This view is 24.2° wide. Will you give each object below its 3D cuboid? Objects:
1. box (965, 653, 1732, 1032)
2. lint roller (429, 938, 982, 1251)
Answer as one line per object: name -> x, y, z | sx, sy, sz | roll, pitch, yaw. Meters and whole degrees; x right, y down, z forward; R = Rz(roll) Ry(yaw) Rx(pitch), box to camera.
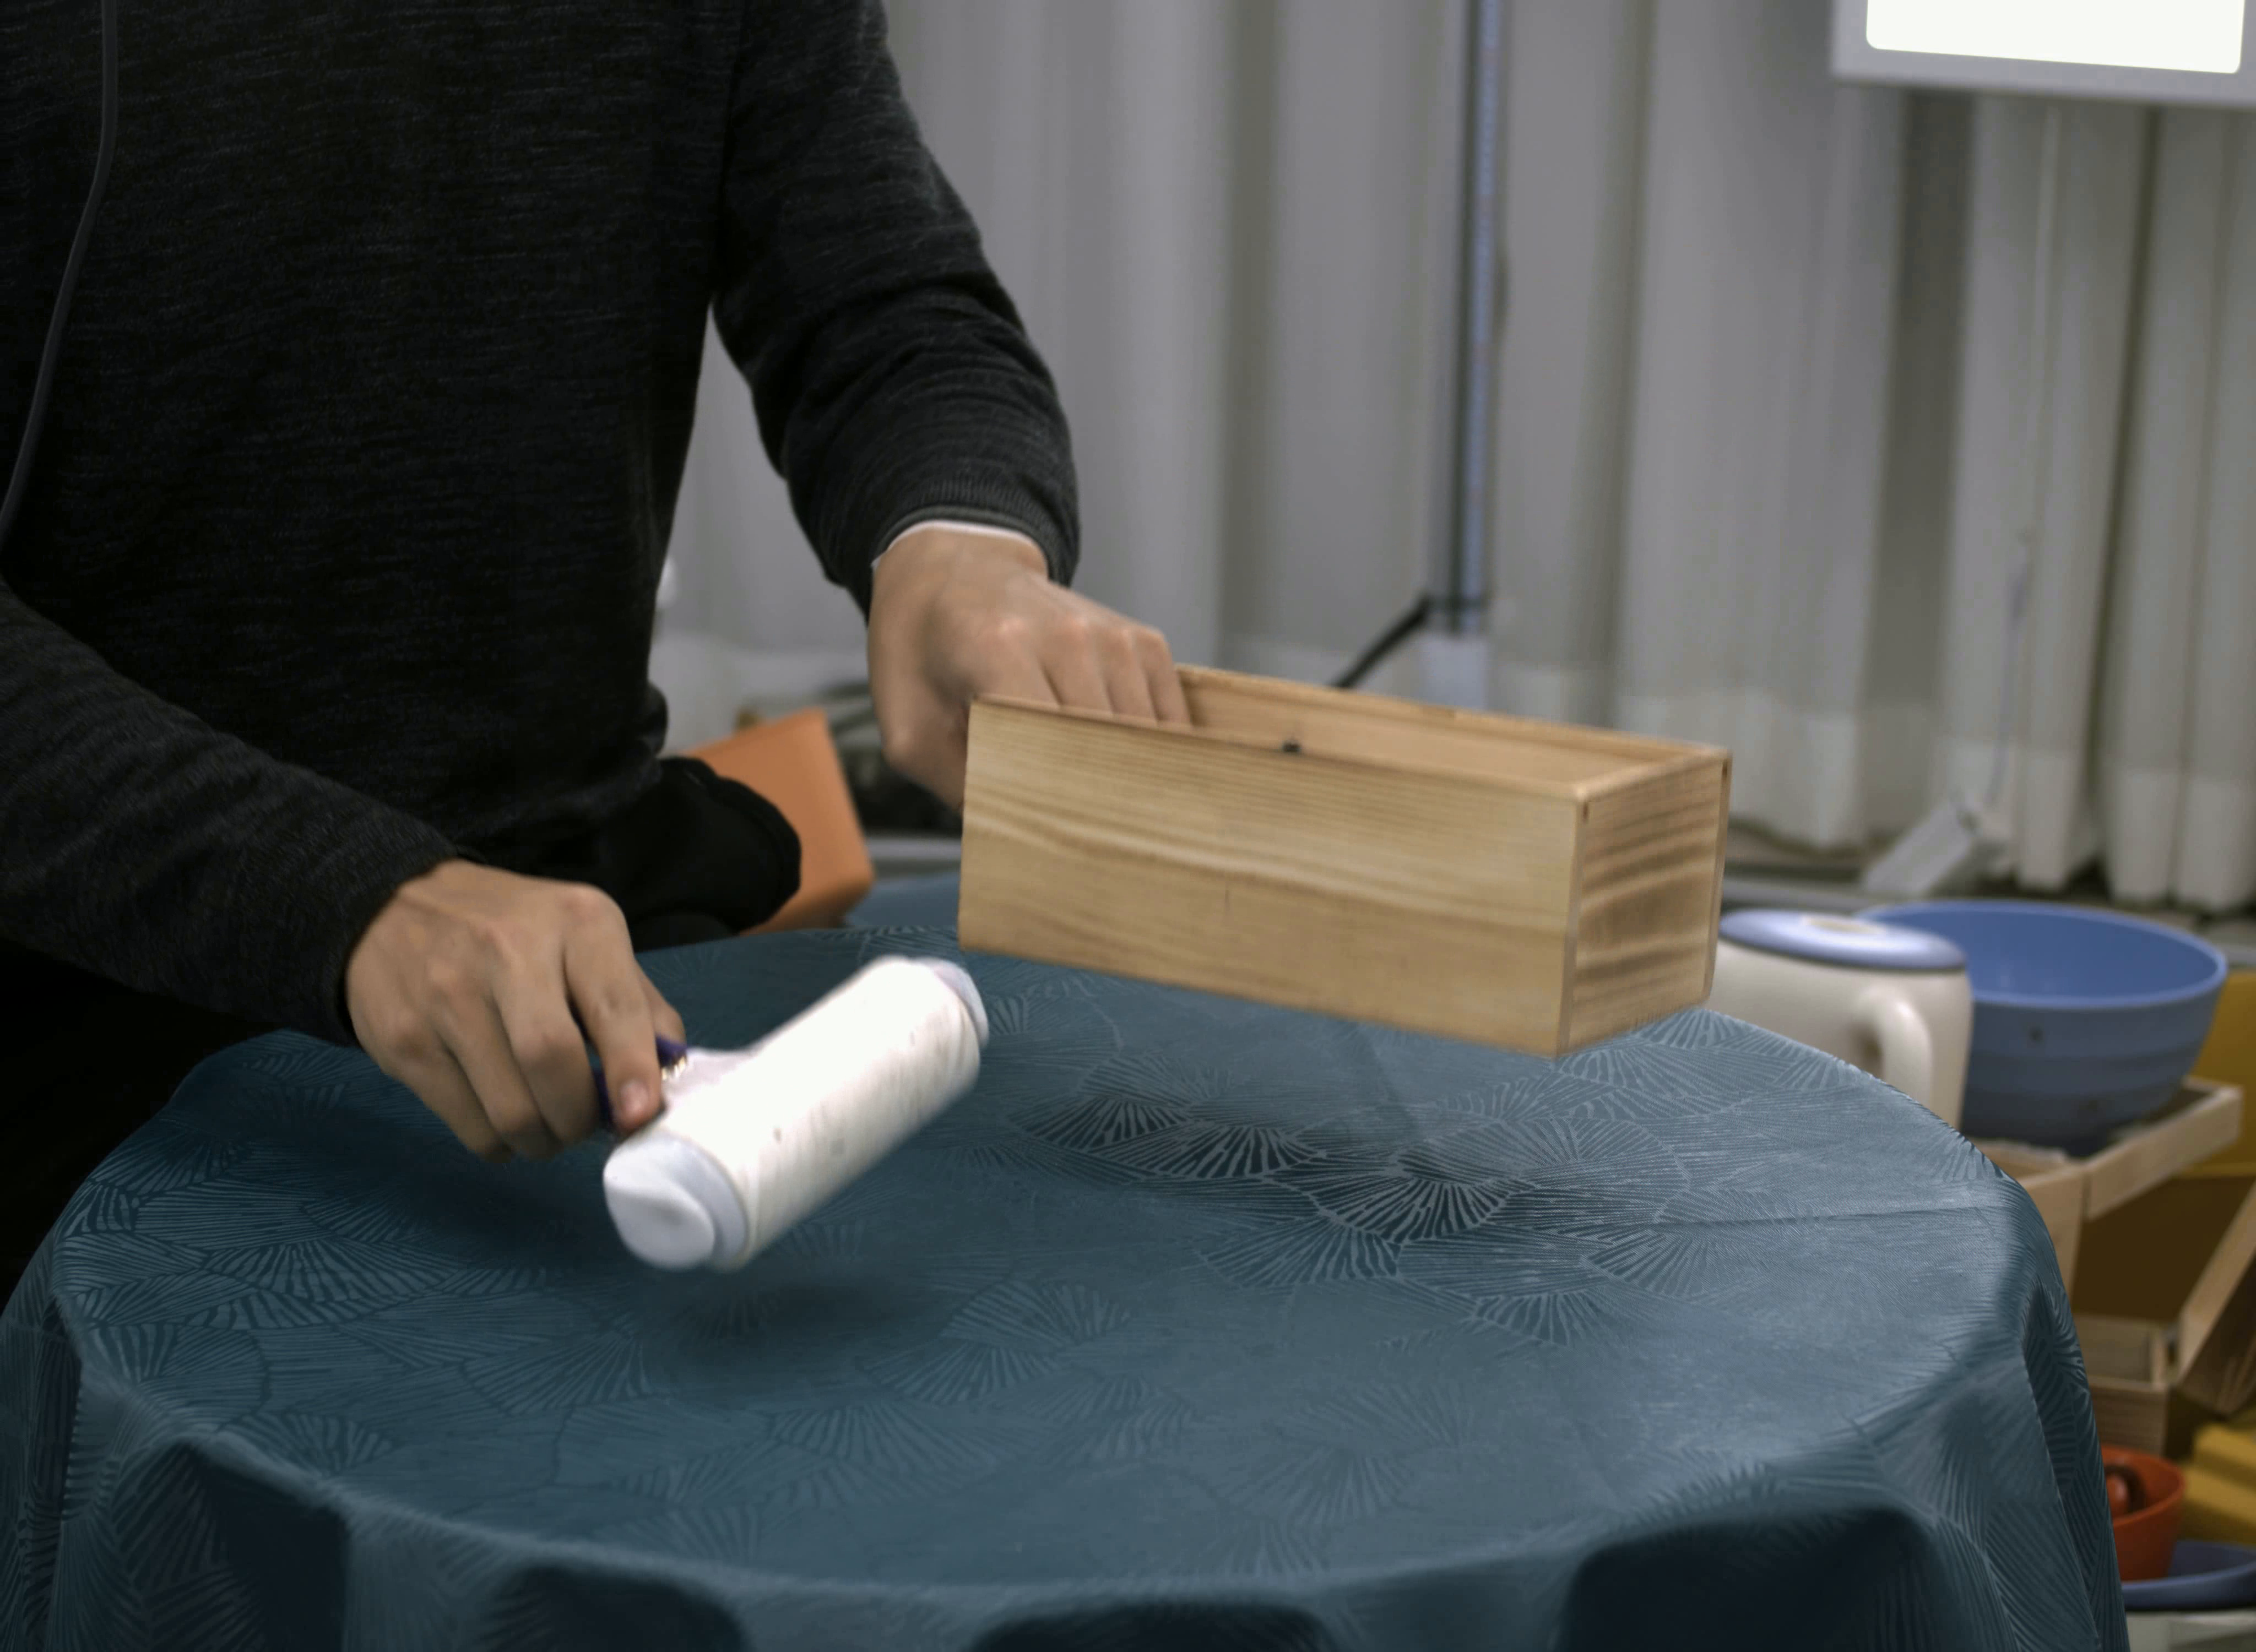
box -> 0.067, 0.002, 1.617 | 0.209, 0.081, 0.108 | 8, 12, 30
lint roller -> -0.141, 0.062, 1.542 | 0.178, 0.051, 0.133 | 17, 41, 37
